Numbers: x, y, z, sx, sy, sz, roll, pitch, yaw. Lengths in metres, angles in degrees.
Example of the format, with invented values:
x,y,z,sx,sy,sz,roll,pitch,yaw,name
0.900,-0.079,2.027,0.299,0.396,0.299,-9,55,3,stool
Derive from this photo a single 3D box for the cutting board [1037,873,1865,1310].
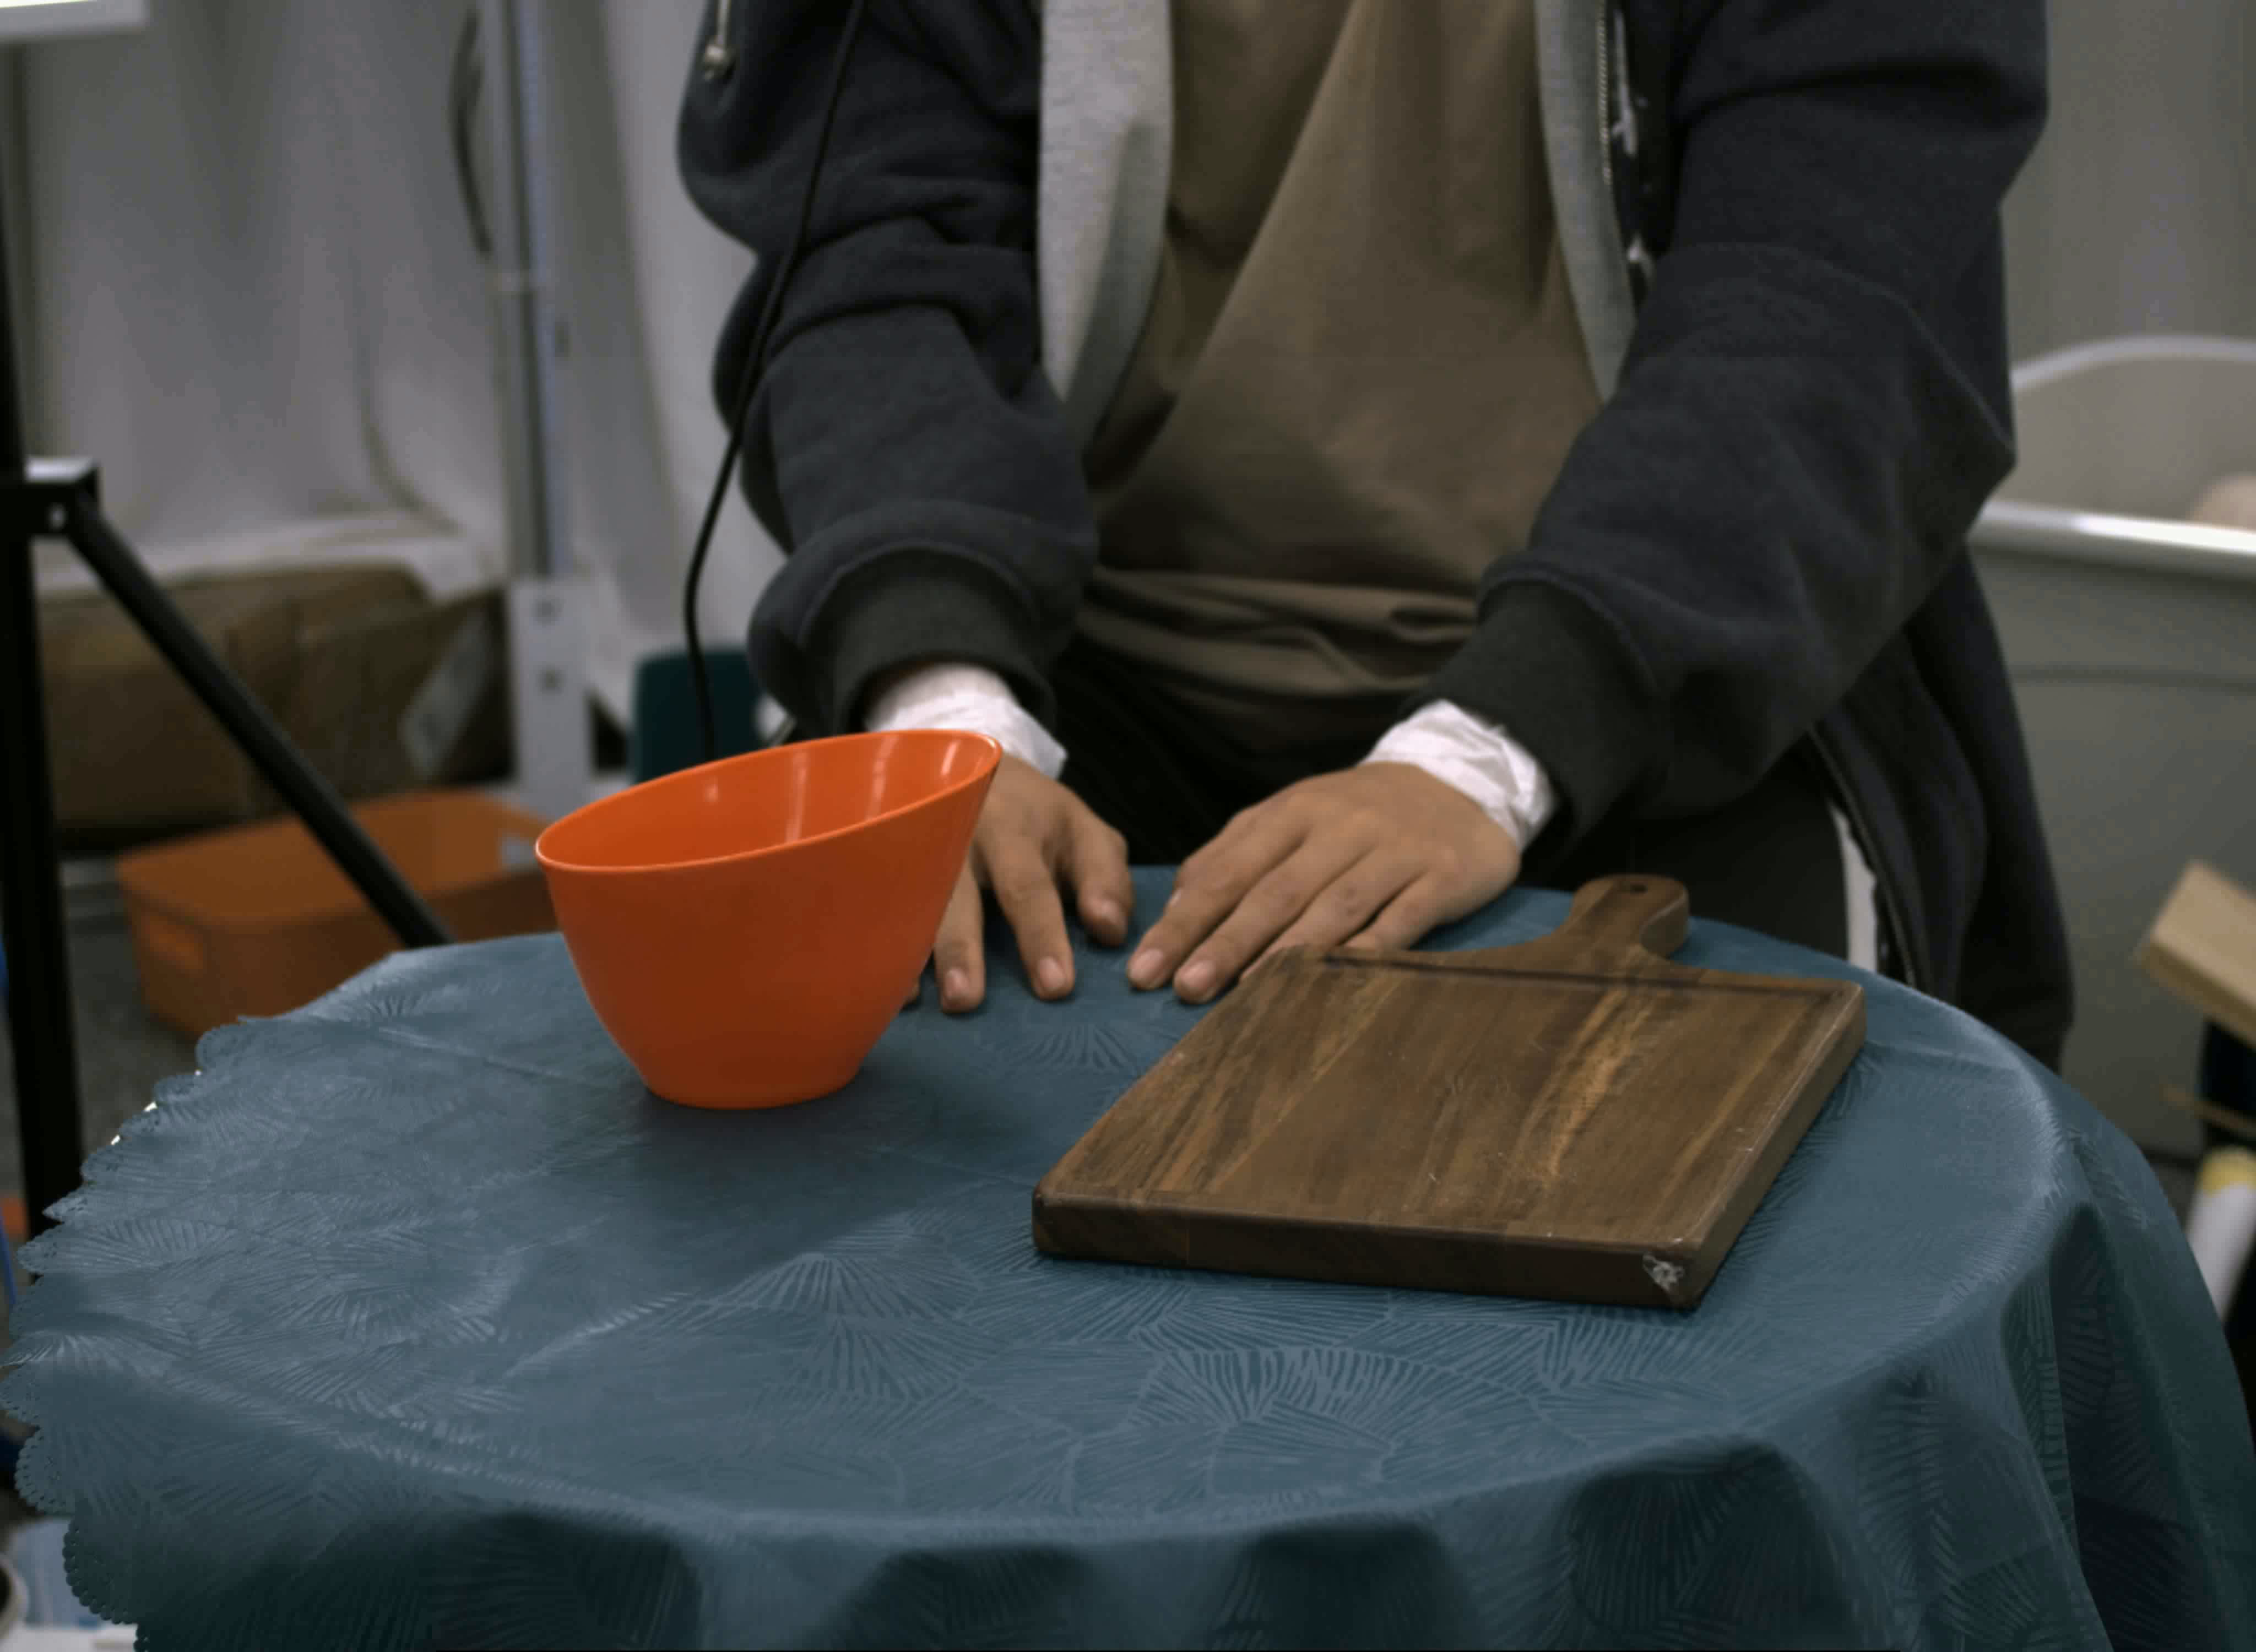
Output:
x,y,z,sx,sy,sz,roll,pitch,yaw,name
0.118,0.073,1.629,0.203,0.023,0.348,3,17,19,cutting board

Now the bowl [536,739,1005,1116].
x,y,z,sx,sy,sz,roll,pitch,yaw,name
-0.110,0.032,1.664,0.147,0.104,0.149,-3,15,-1,bowl
